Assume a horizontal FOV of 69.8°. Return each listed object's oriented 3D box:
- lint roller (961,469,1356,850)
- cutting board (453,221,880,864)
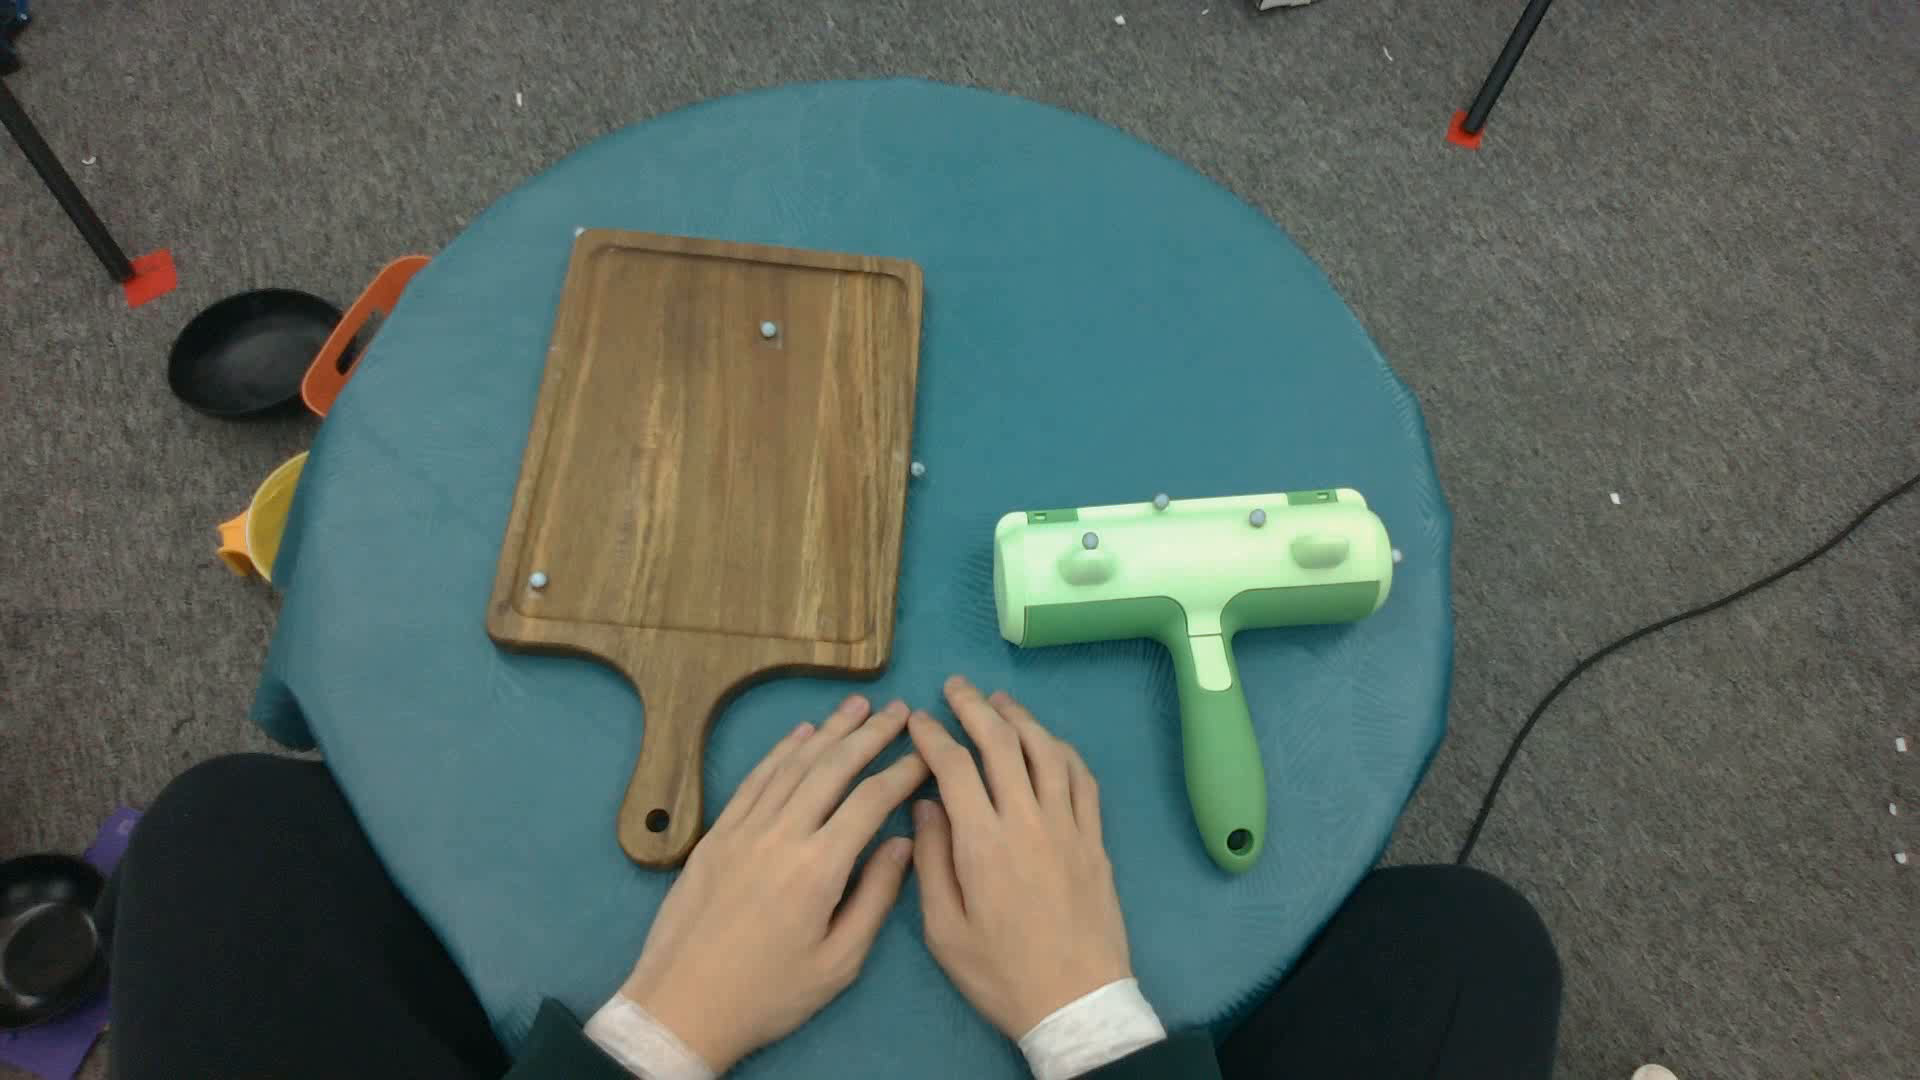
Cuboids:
[{"bbox_3d":[0.108,0.051,0.664,0.199,0.082,0.184,-5,60,-8],"label":"lint roller"},{"bbox_3d":[-0.146,-0.013,0.702,0.201,0.023,0.353,3,64,-4],"label":"cutting board"}]
